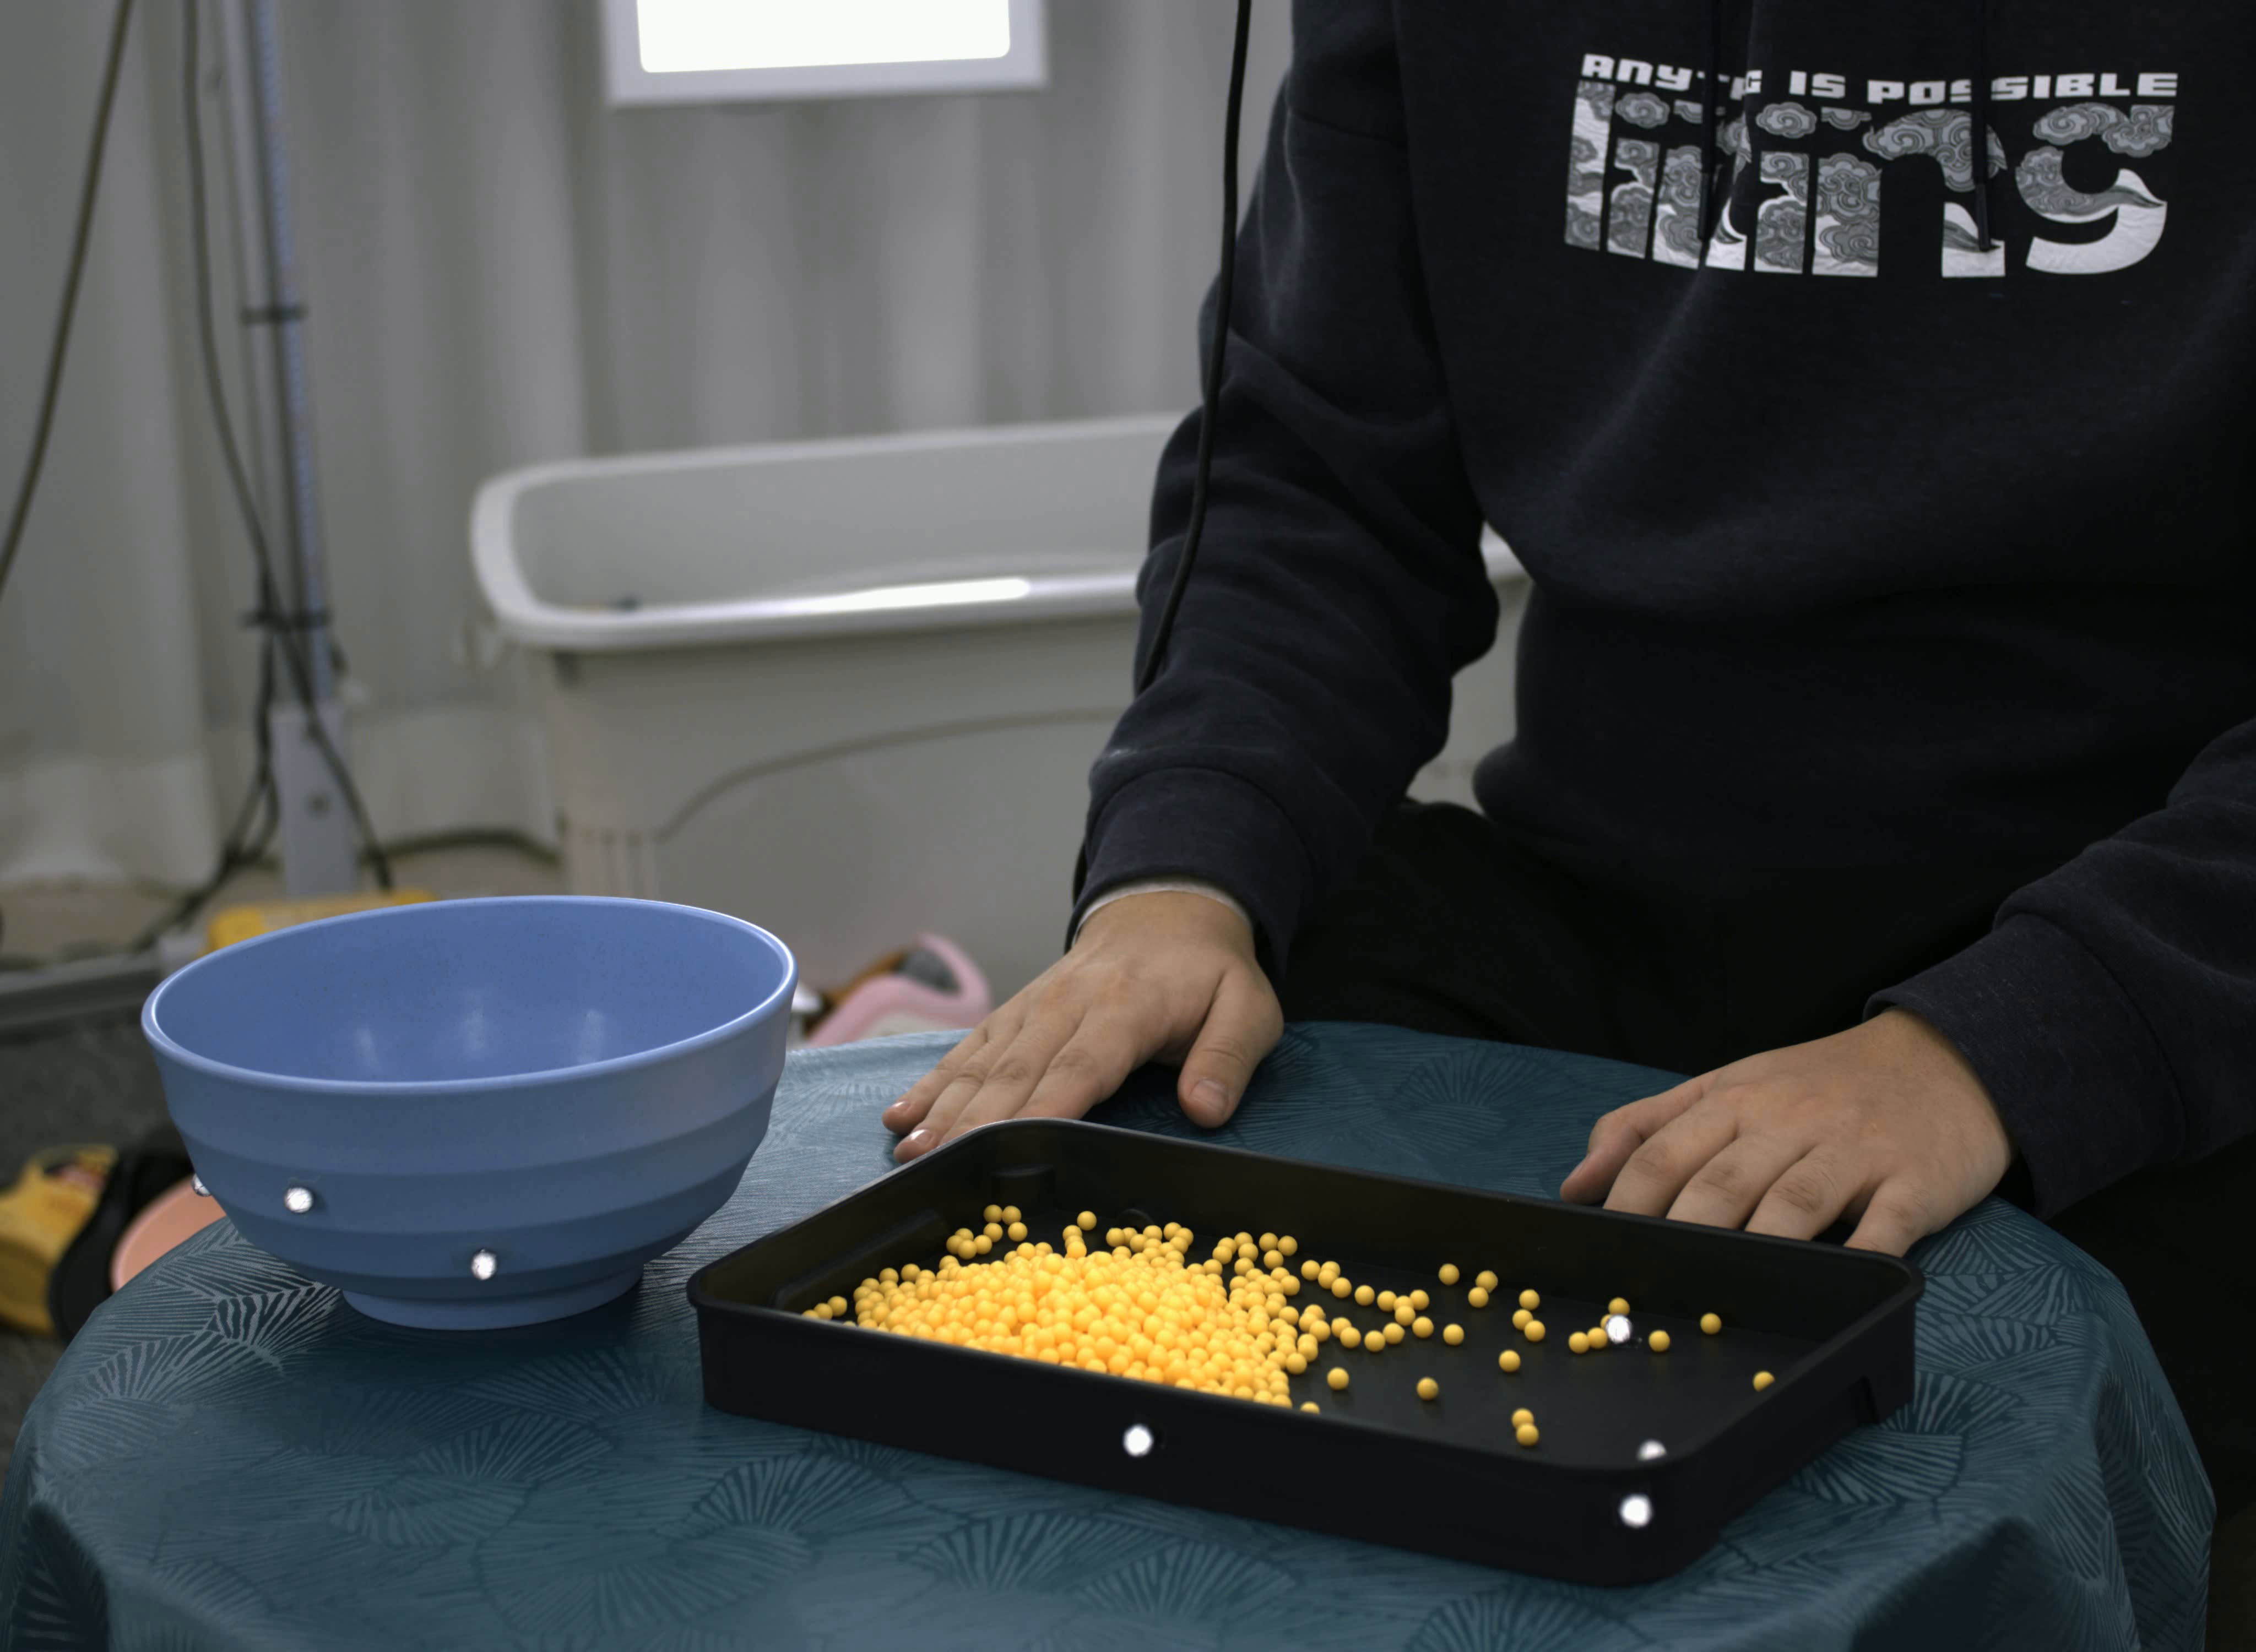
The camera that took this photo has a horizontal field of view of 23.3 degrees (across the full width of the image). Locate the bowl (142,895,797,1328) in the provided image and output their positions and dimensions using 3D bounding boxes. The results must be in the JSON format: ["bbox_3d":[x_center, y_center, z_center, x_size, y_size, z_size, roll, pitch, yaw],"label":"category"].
[{"bbox_3d":[-0.194,0.092,1.651,0.196,0.095,0.198,-4,15,1],"label":"bowl"}]

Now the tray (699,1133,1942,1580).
[{"bbox_3d":[0.053,0.144,1.534,0.319,0.037,0.184,5,16,31],"label":"tray"}]
